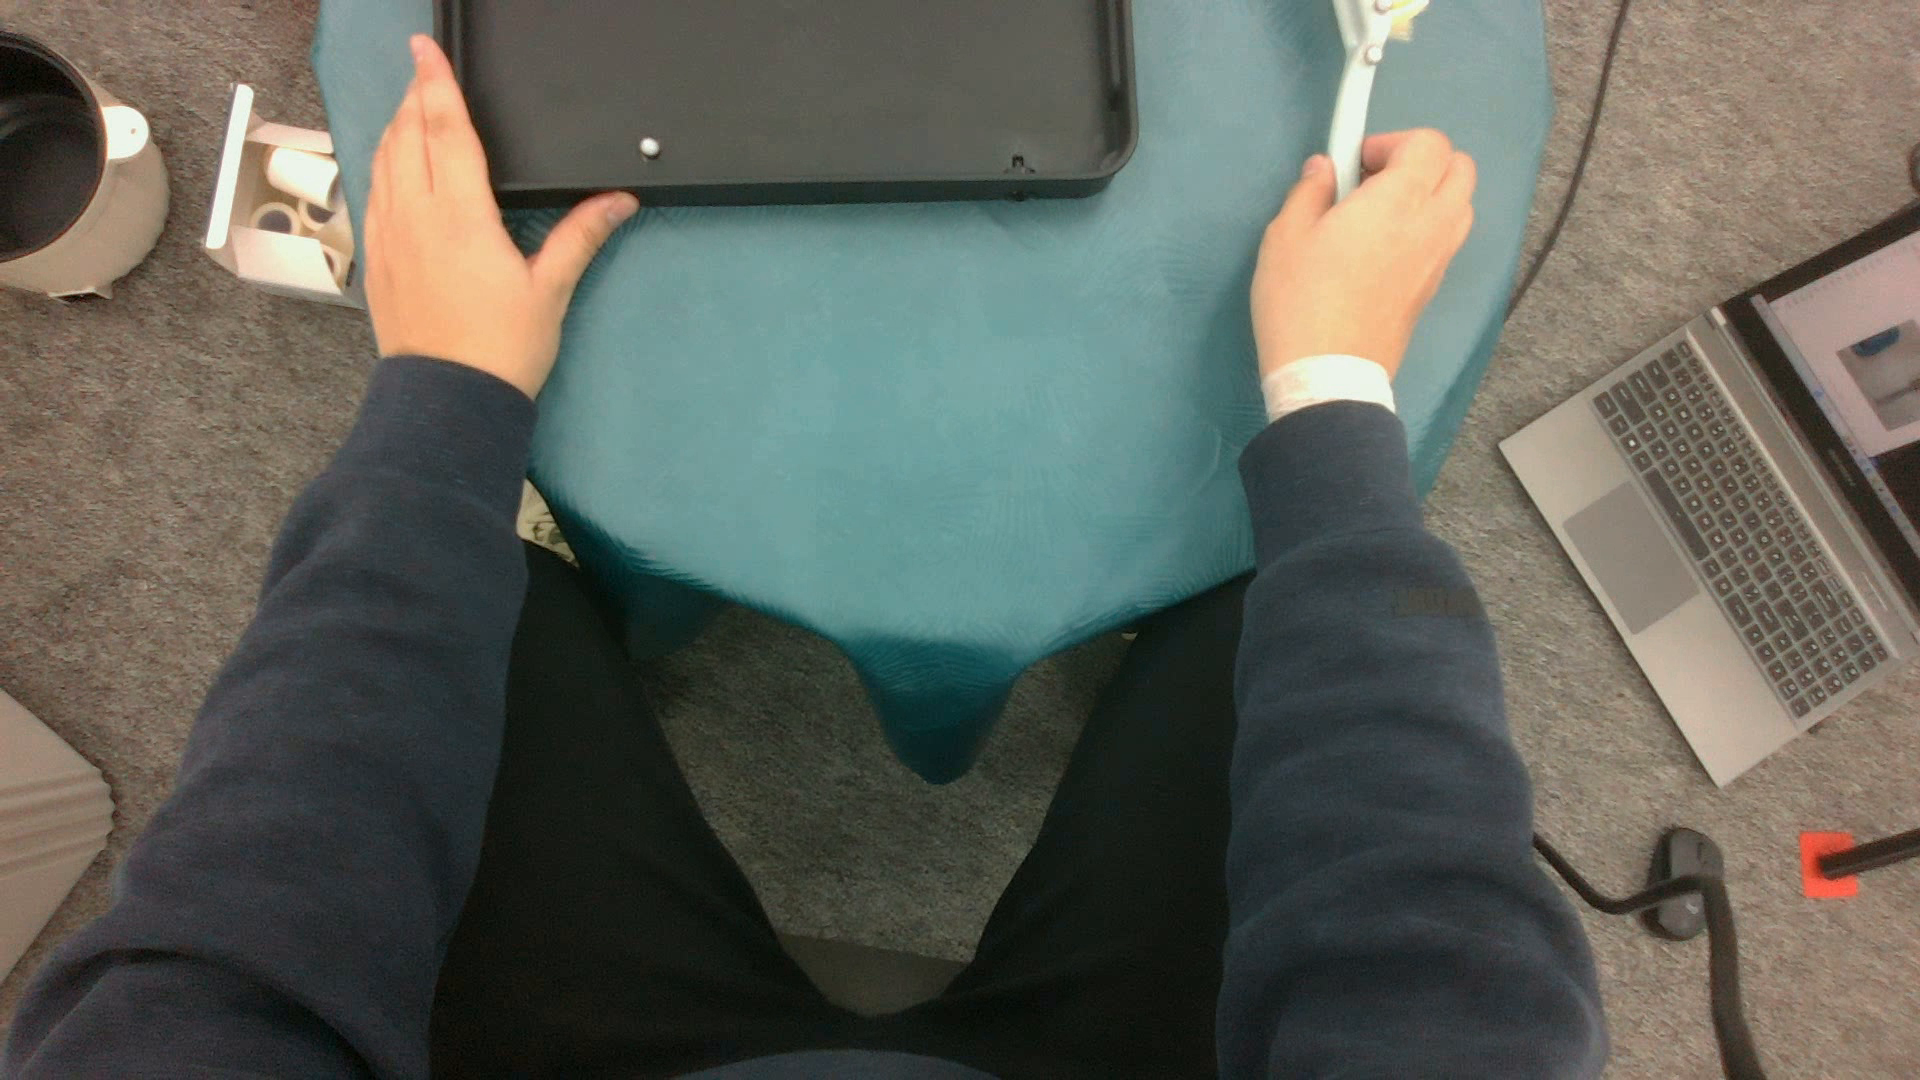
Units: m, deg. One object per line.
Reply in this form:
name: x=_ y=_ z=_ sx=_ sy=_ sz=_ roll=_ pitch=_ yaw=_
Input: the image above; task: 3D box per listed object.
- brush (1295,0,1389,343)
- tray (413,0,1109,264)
brush: x=0.186 y=-0.211 z=0.669 sx=0.050 sy=0.038 sz=0.228 roll=-6 pitch=90 yaw=-6
tray: x=-0.095 y=-0.240 z=0.667 sx=0.318 sy=0.037 sz=0.184 roll=-7 pitch=86 yaw=-4
